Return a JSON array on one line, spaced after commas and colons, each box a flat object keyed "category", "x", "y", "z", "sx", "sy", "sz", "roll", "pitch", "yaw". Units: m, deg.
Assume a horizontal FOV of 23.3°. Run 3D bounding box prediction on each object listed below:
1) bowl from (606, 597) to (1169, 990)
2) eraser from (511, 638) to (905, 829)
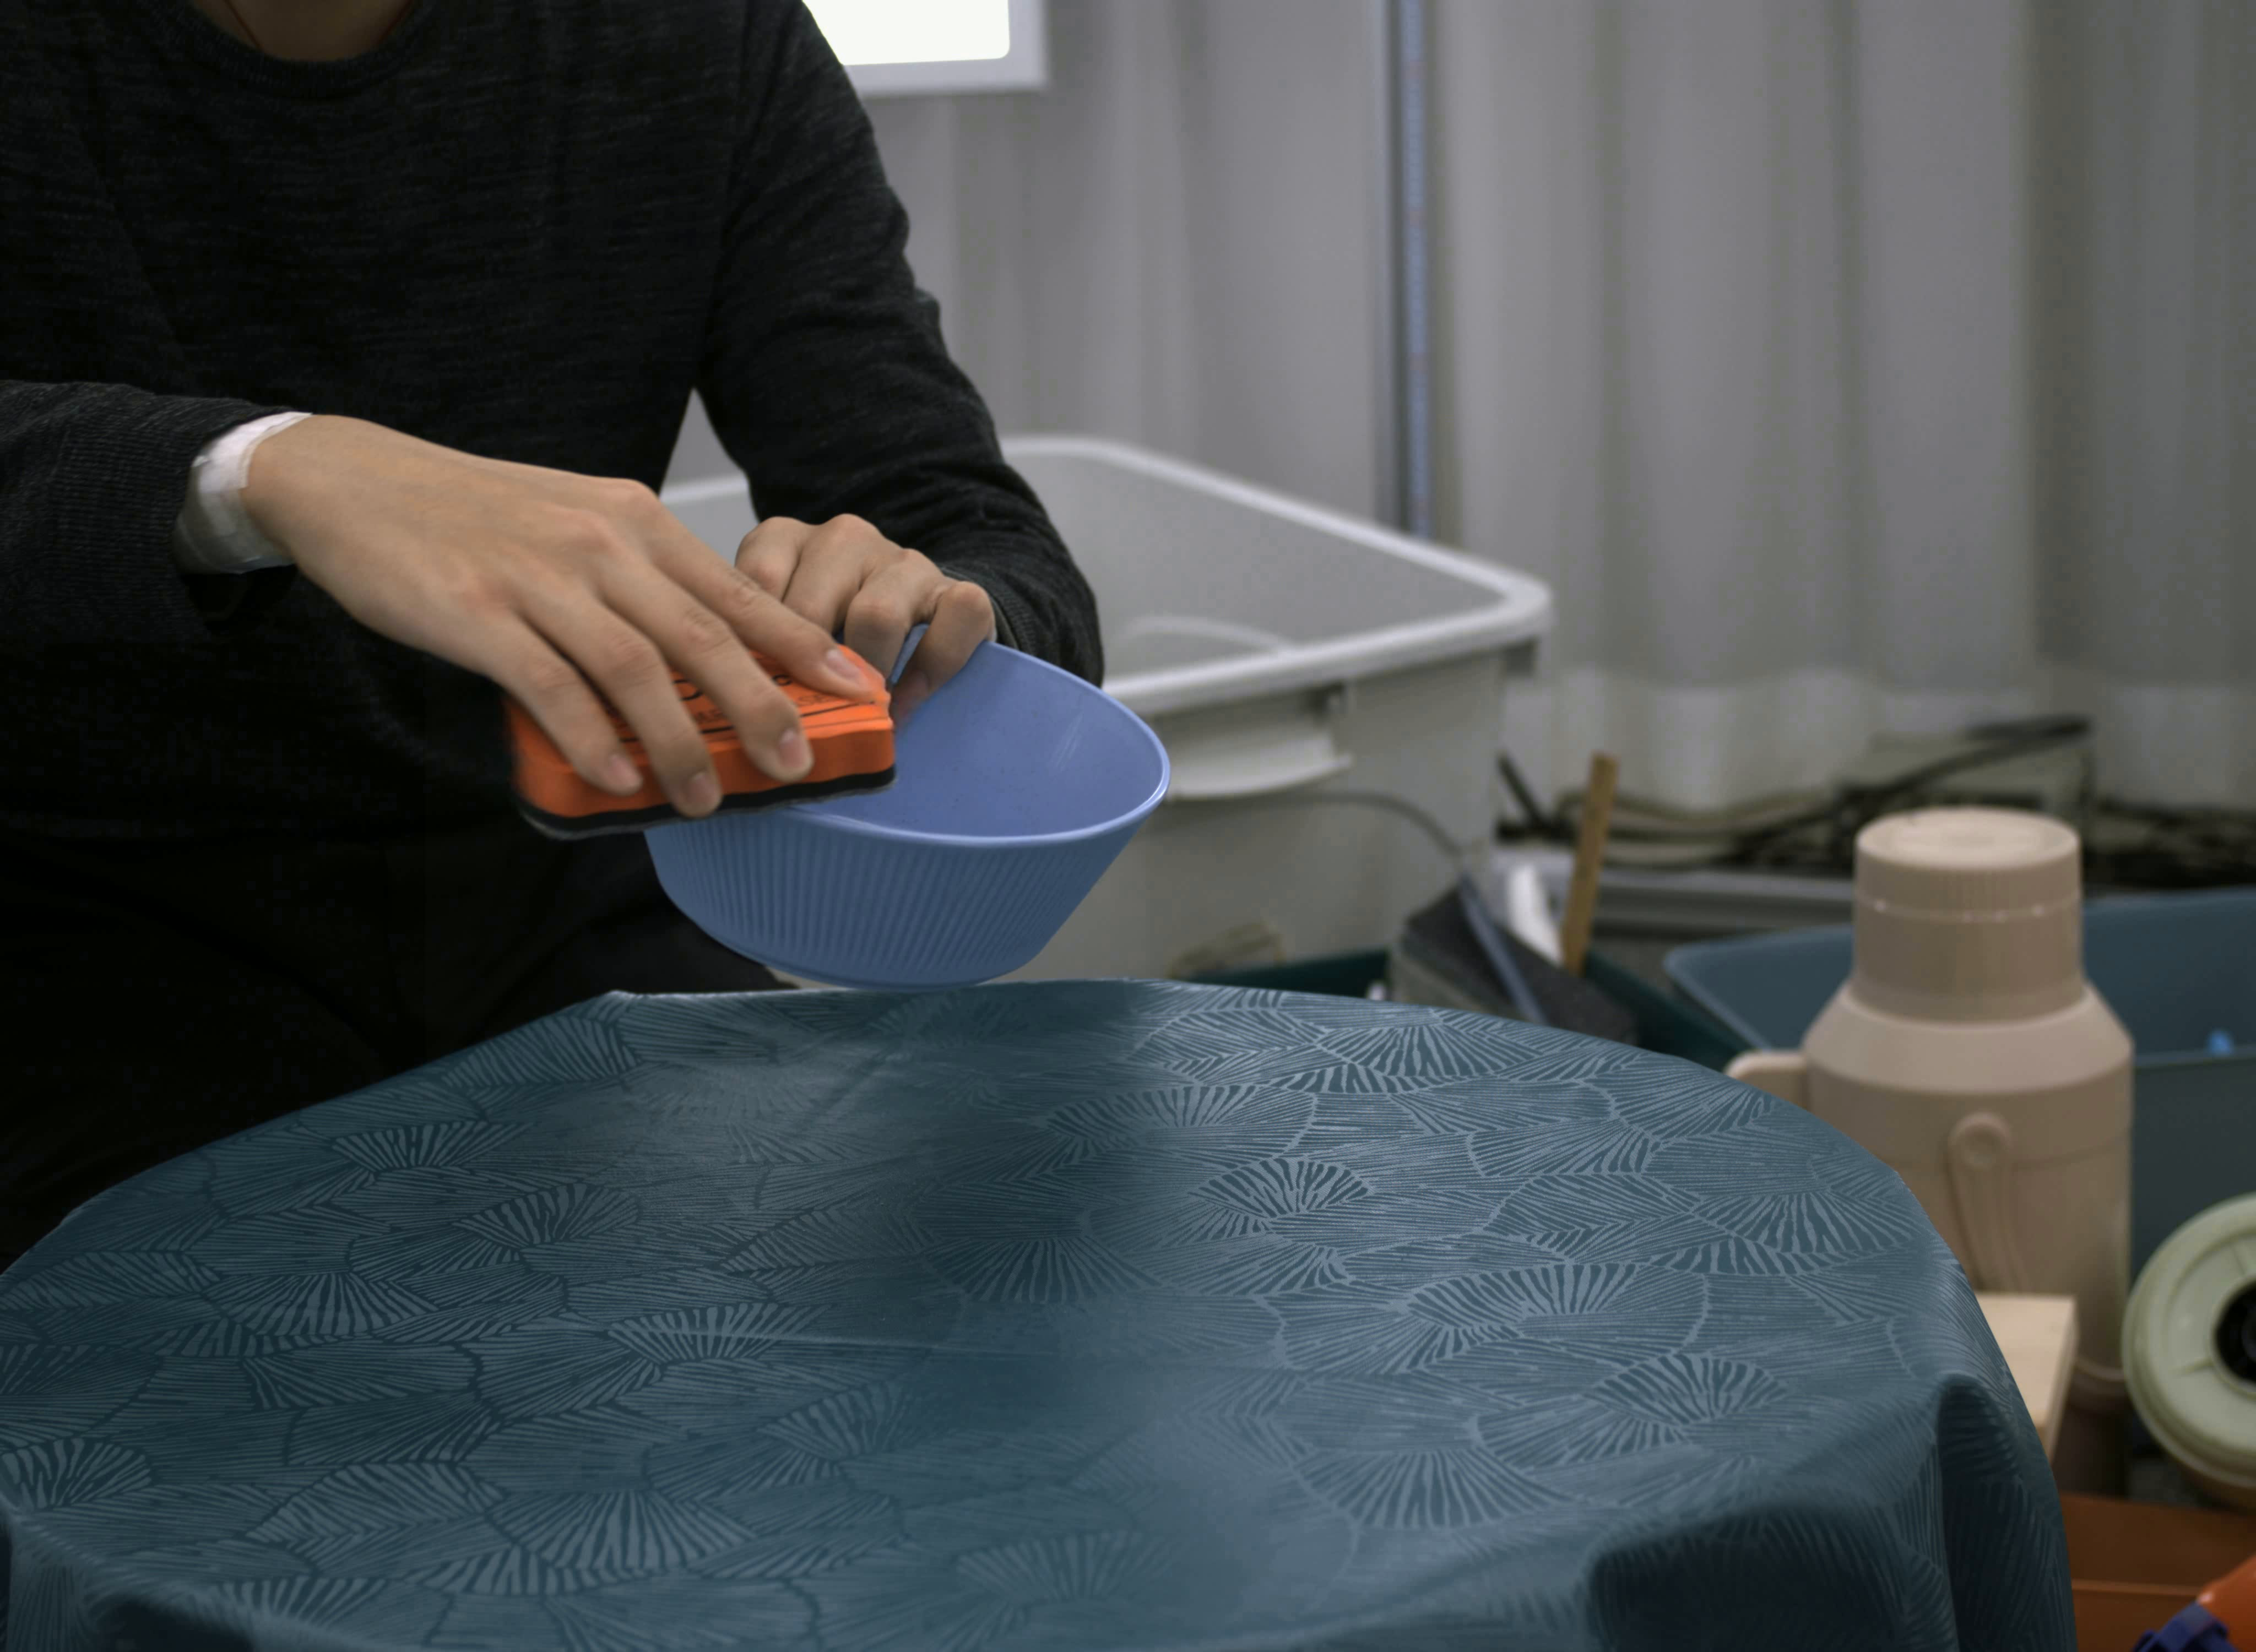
[{"category": "bowl", "x": -0.079, "y": -0.005, "z": 1.674, "sx": 0.175, "sy": 0.070, "sz": 0.178, "roll": 11, "pitch": 22, "yaw": -5}, {"category": "eraser", "x": -0.122, "y": -0.027, "z": 1.592, "sx": 0.107, "sy": 0.022, "sz": 0.060, "roll": -9, "pitch": 32, "yaw": -20}]
